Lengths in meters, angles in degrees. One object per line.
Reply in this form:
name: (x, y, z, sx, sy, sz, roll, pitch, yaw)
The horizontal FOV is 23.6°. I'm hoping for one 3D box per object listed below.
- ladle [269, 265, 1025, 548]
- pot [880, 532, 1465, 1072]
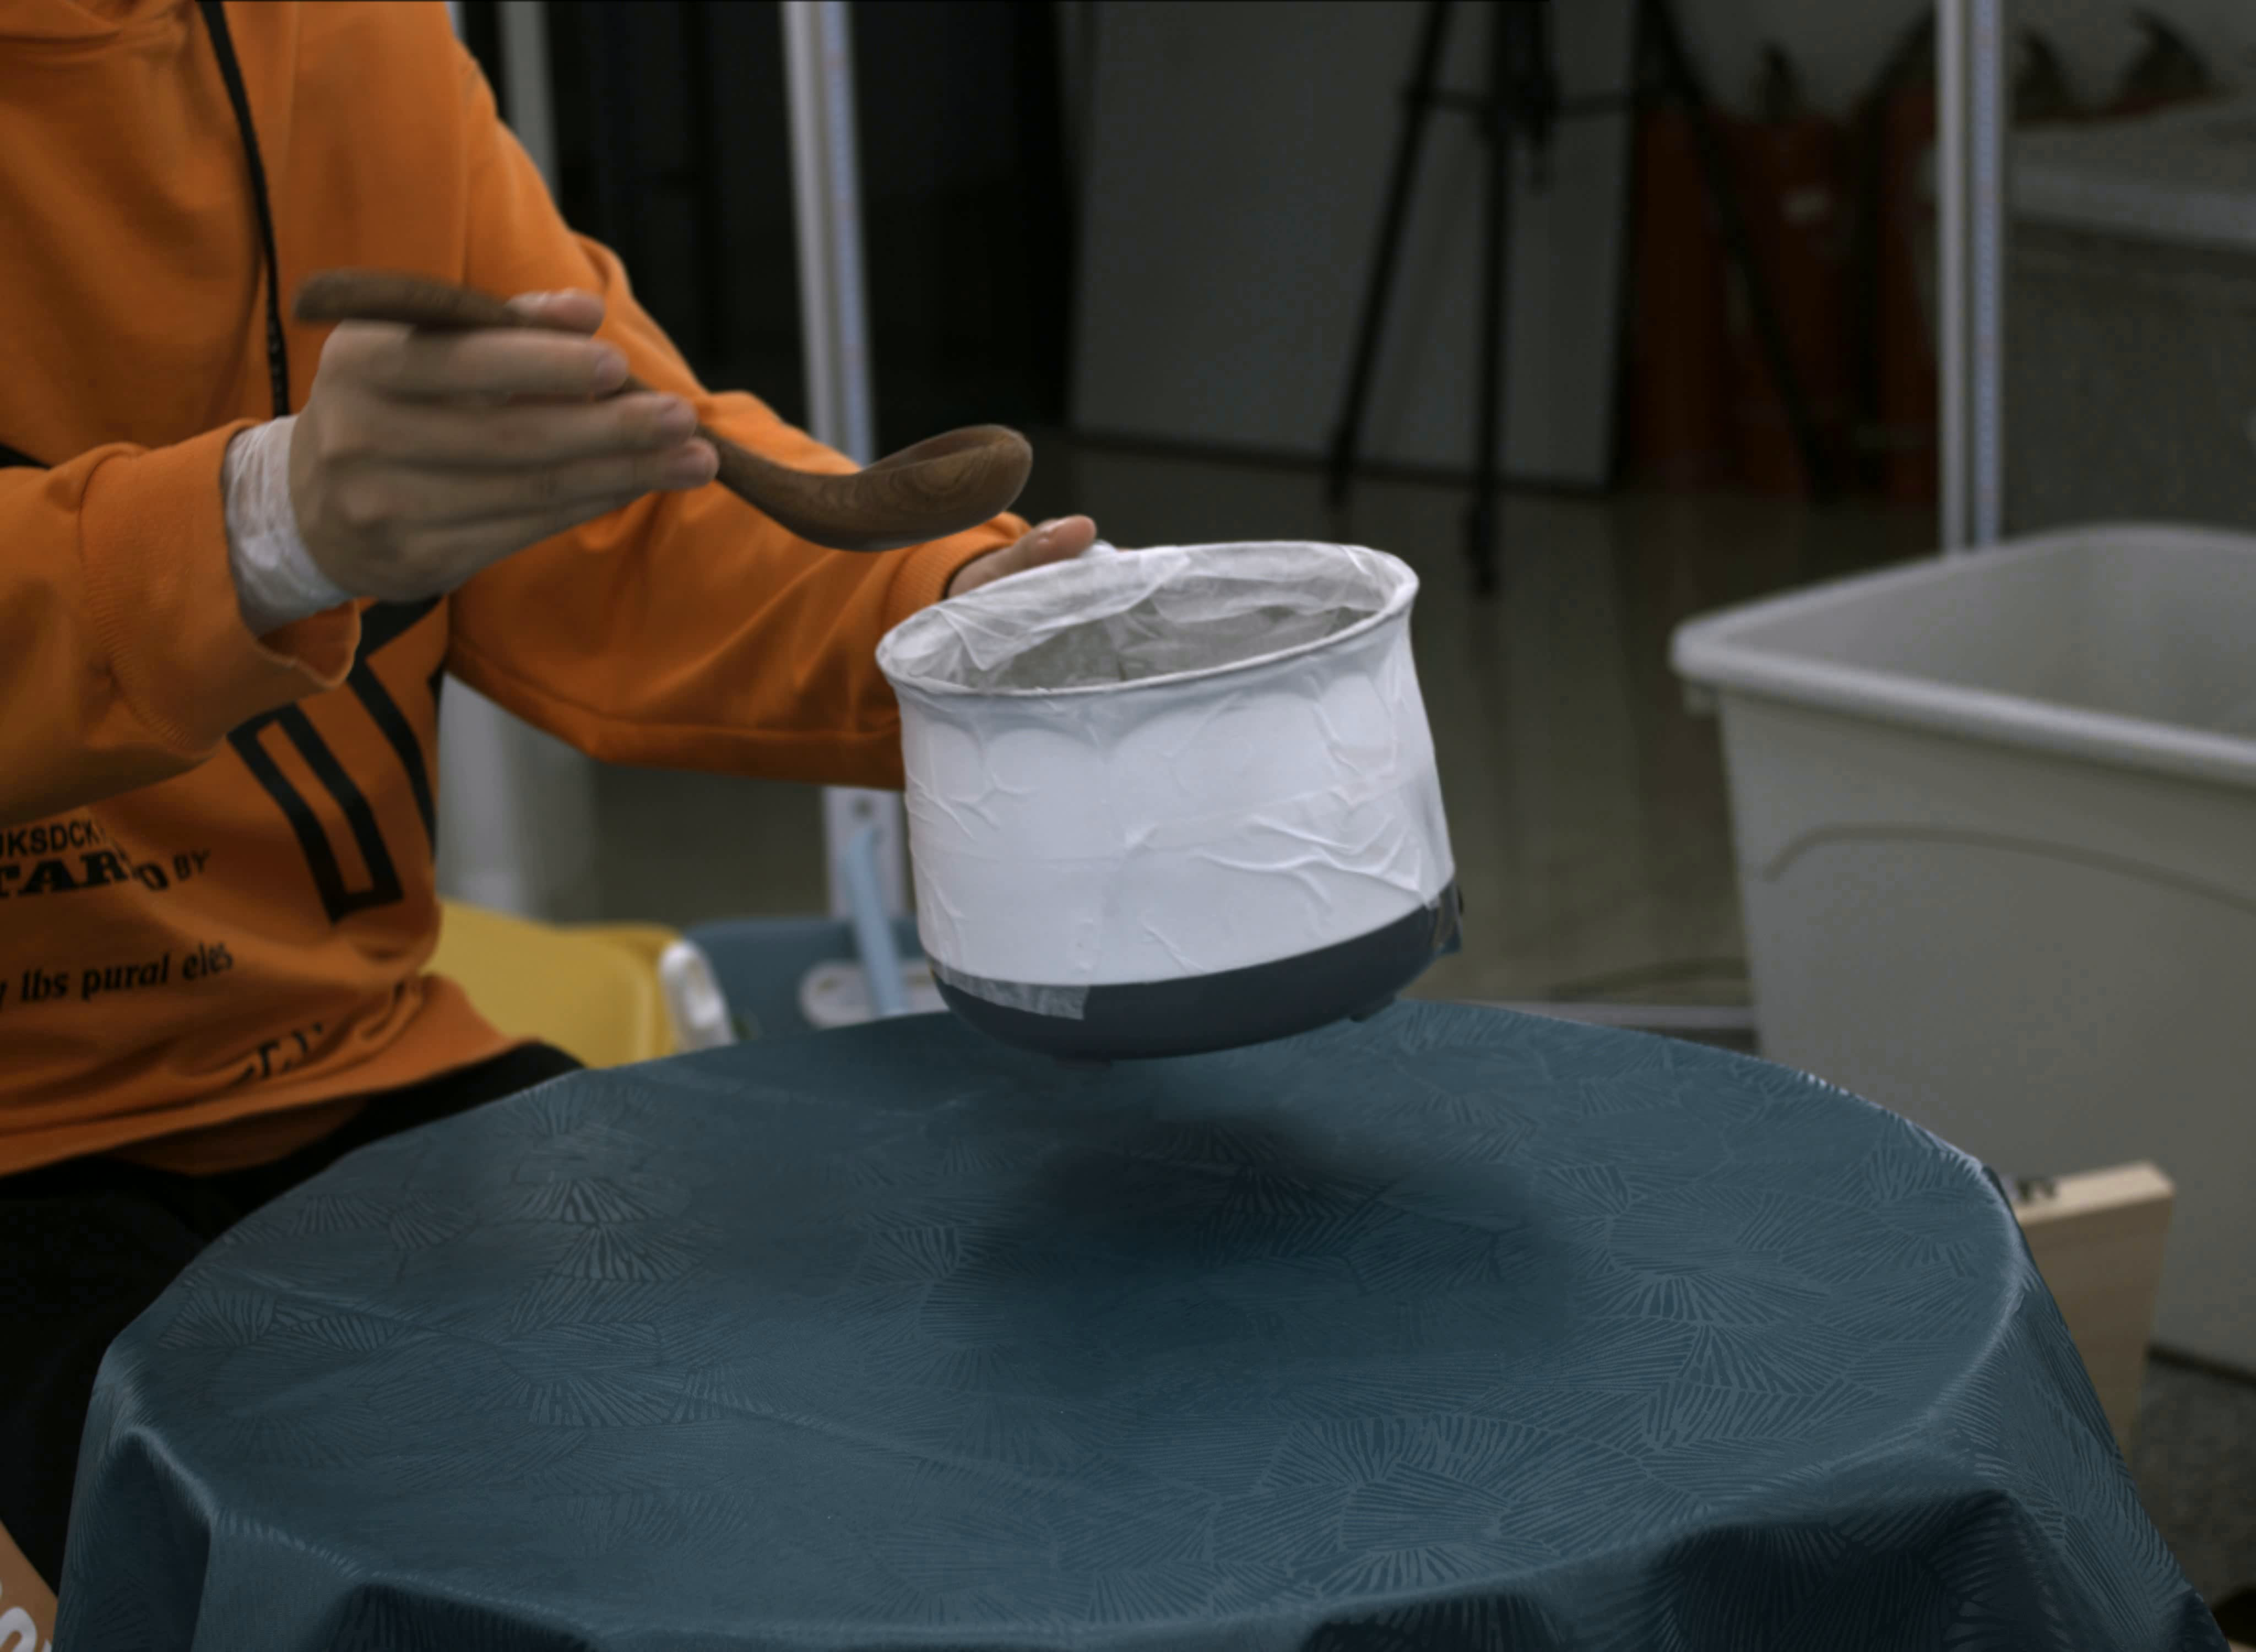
ladle: (-0.141, -0.139, 1.629, 0.255, 0.066, 0.077, 21, -25, -33)
pot: (0.010, -0.015, 1.764, 0.176, 0.138, 0.235, -11, 15, -9)
